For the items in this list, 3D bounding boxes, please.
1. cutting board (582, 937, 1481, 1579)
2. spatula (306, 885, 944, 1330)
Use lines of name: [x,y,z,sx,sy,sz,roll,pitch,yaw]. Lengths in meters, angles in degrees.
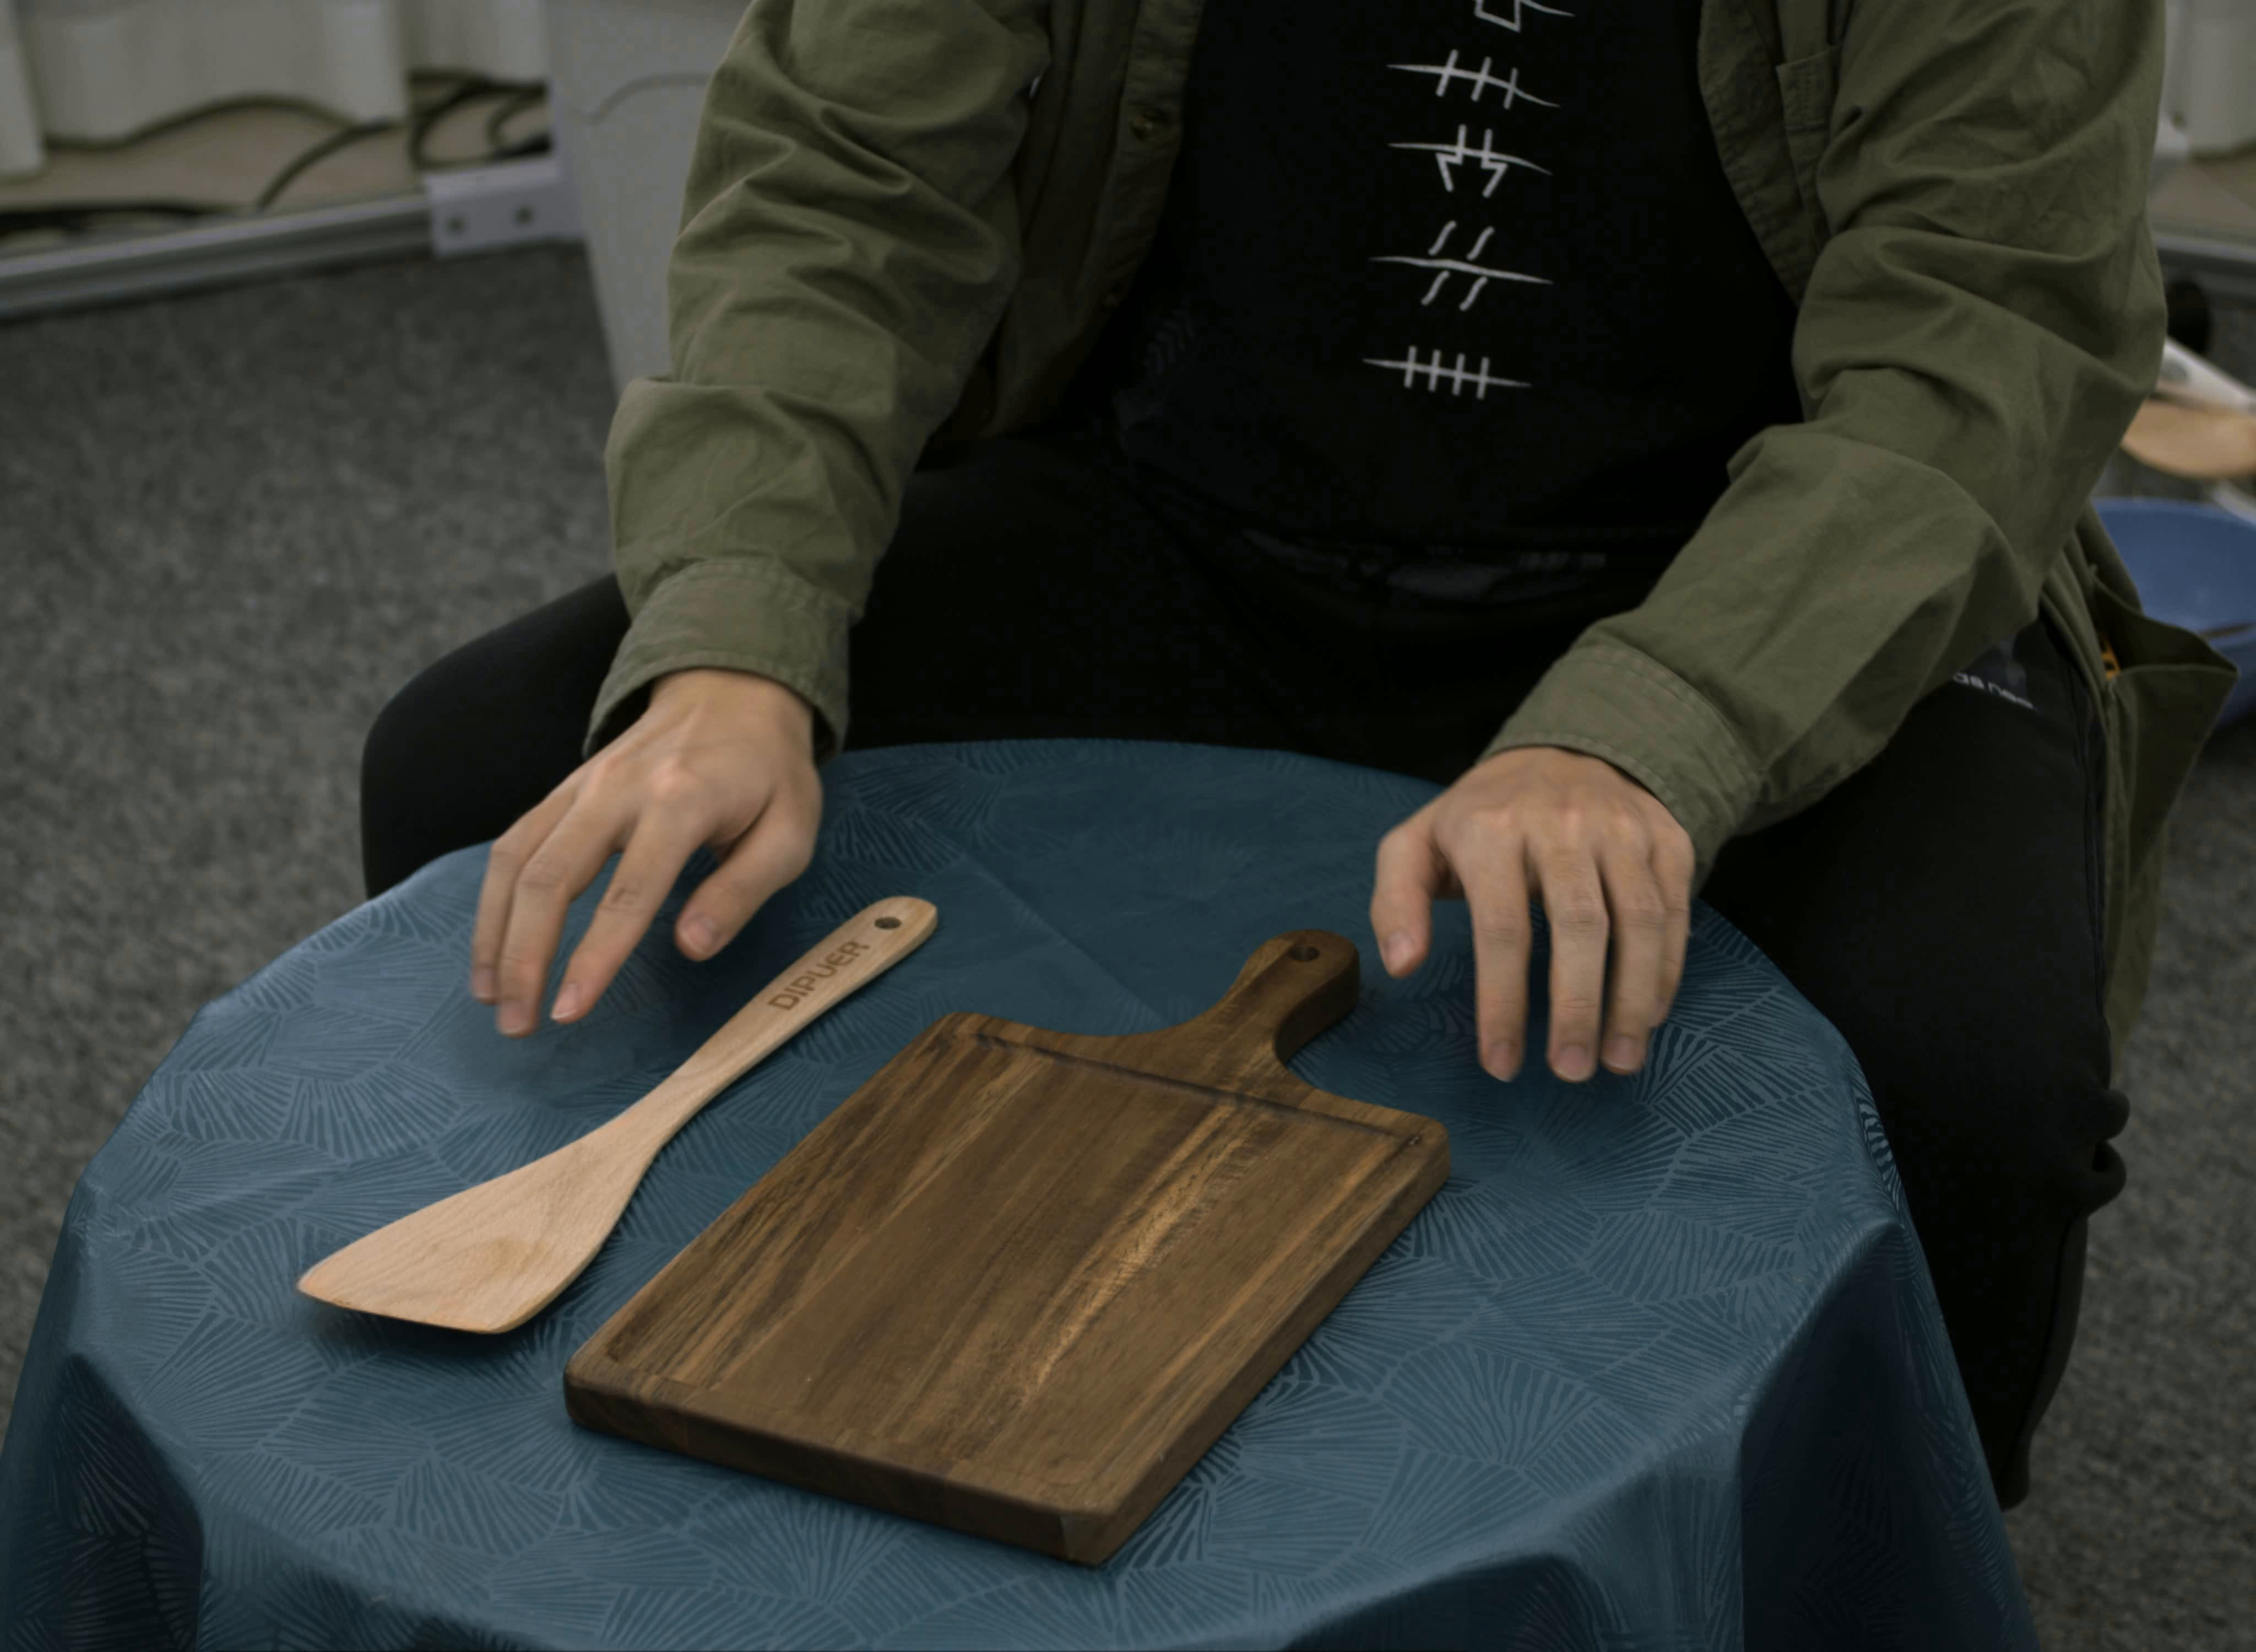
cutting board: [-0.003,0.124,1.829,0.200,0.023,0.358,12,31,27]
spatula: [-0.153,0.091,1.912,0.079,0.016,0.333,12,31,27]
